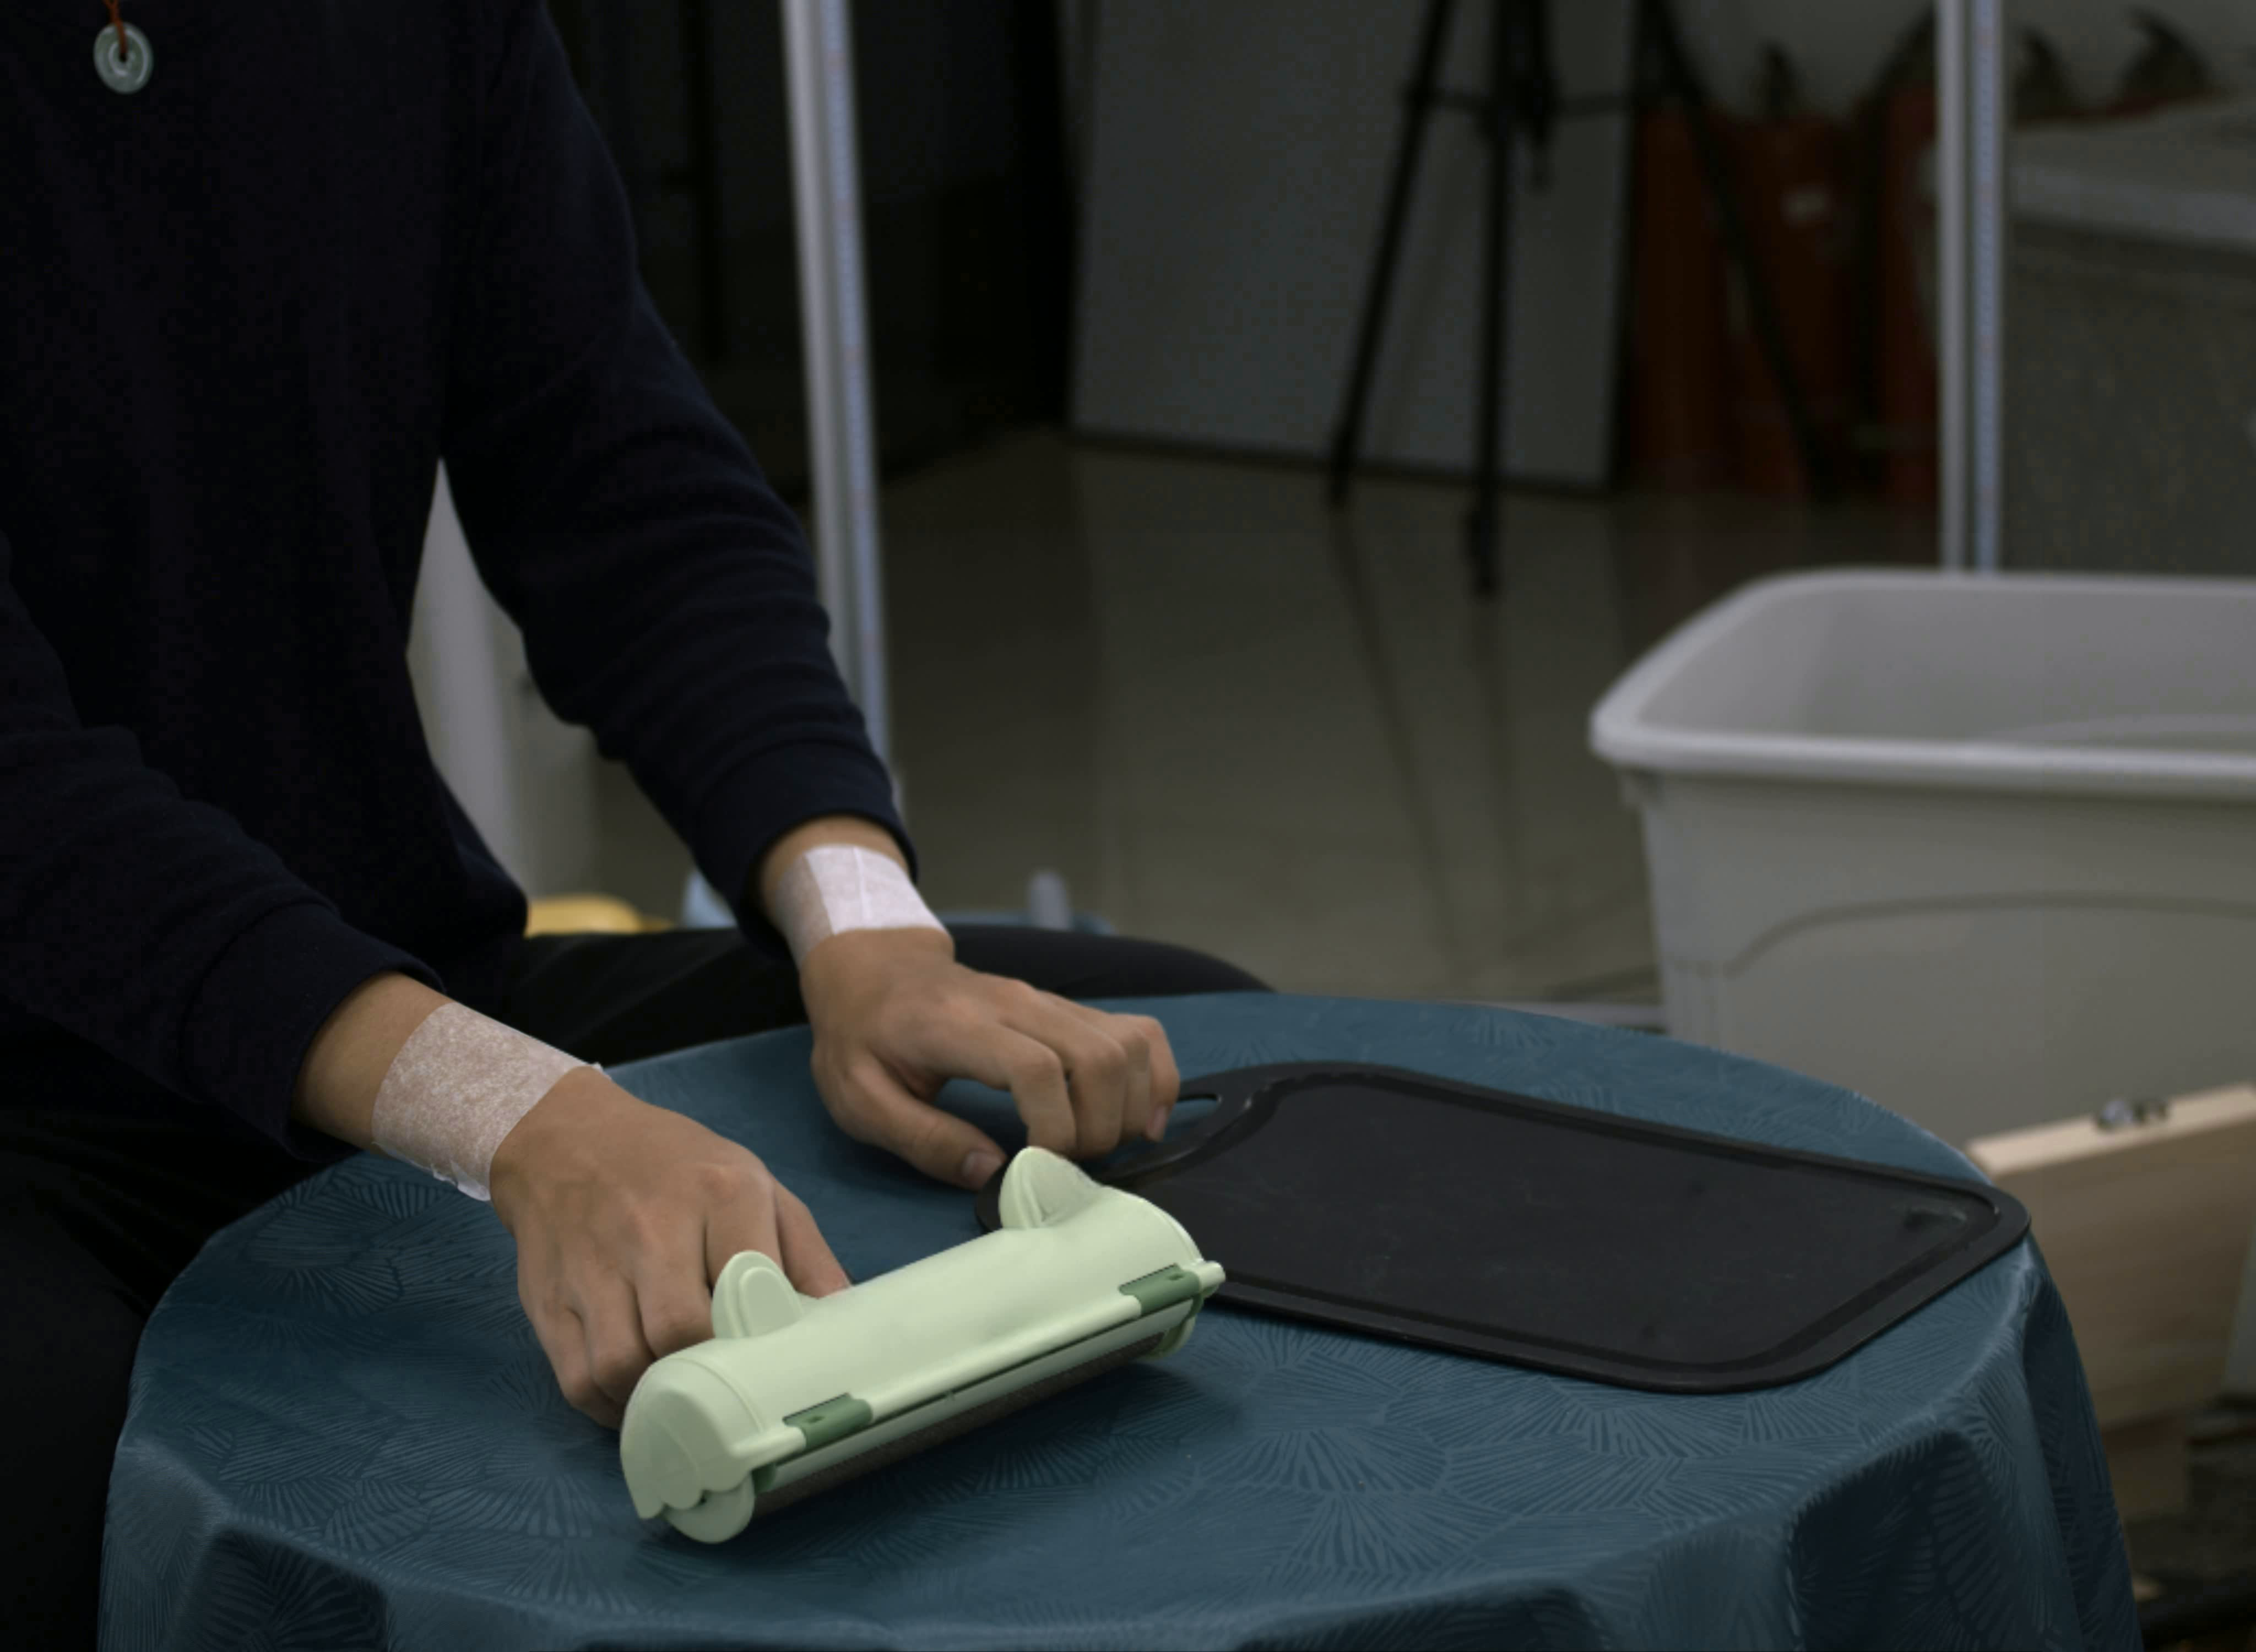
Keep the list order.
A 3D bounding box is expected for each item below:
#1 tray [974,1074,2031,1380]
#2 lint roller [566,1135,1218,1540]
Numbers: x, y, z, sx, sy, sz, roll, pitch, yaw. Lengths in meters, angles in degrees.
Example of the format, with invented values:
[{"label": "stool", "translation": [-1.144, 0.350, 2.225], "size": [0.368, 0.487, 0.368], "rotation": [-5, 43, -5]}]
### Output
[{"label": "tray", "translation": [0.110, 0.121, 1.709], "size": [0.327, 0.010, 0.207], "rotation": [8, 18, 36]}, {"label": "lint roller", "translation": [-0.100, 0.132, 1.576], "size": [0.185, 0.083, 0.194], "rotation": [17, 23, 41]}]
